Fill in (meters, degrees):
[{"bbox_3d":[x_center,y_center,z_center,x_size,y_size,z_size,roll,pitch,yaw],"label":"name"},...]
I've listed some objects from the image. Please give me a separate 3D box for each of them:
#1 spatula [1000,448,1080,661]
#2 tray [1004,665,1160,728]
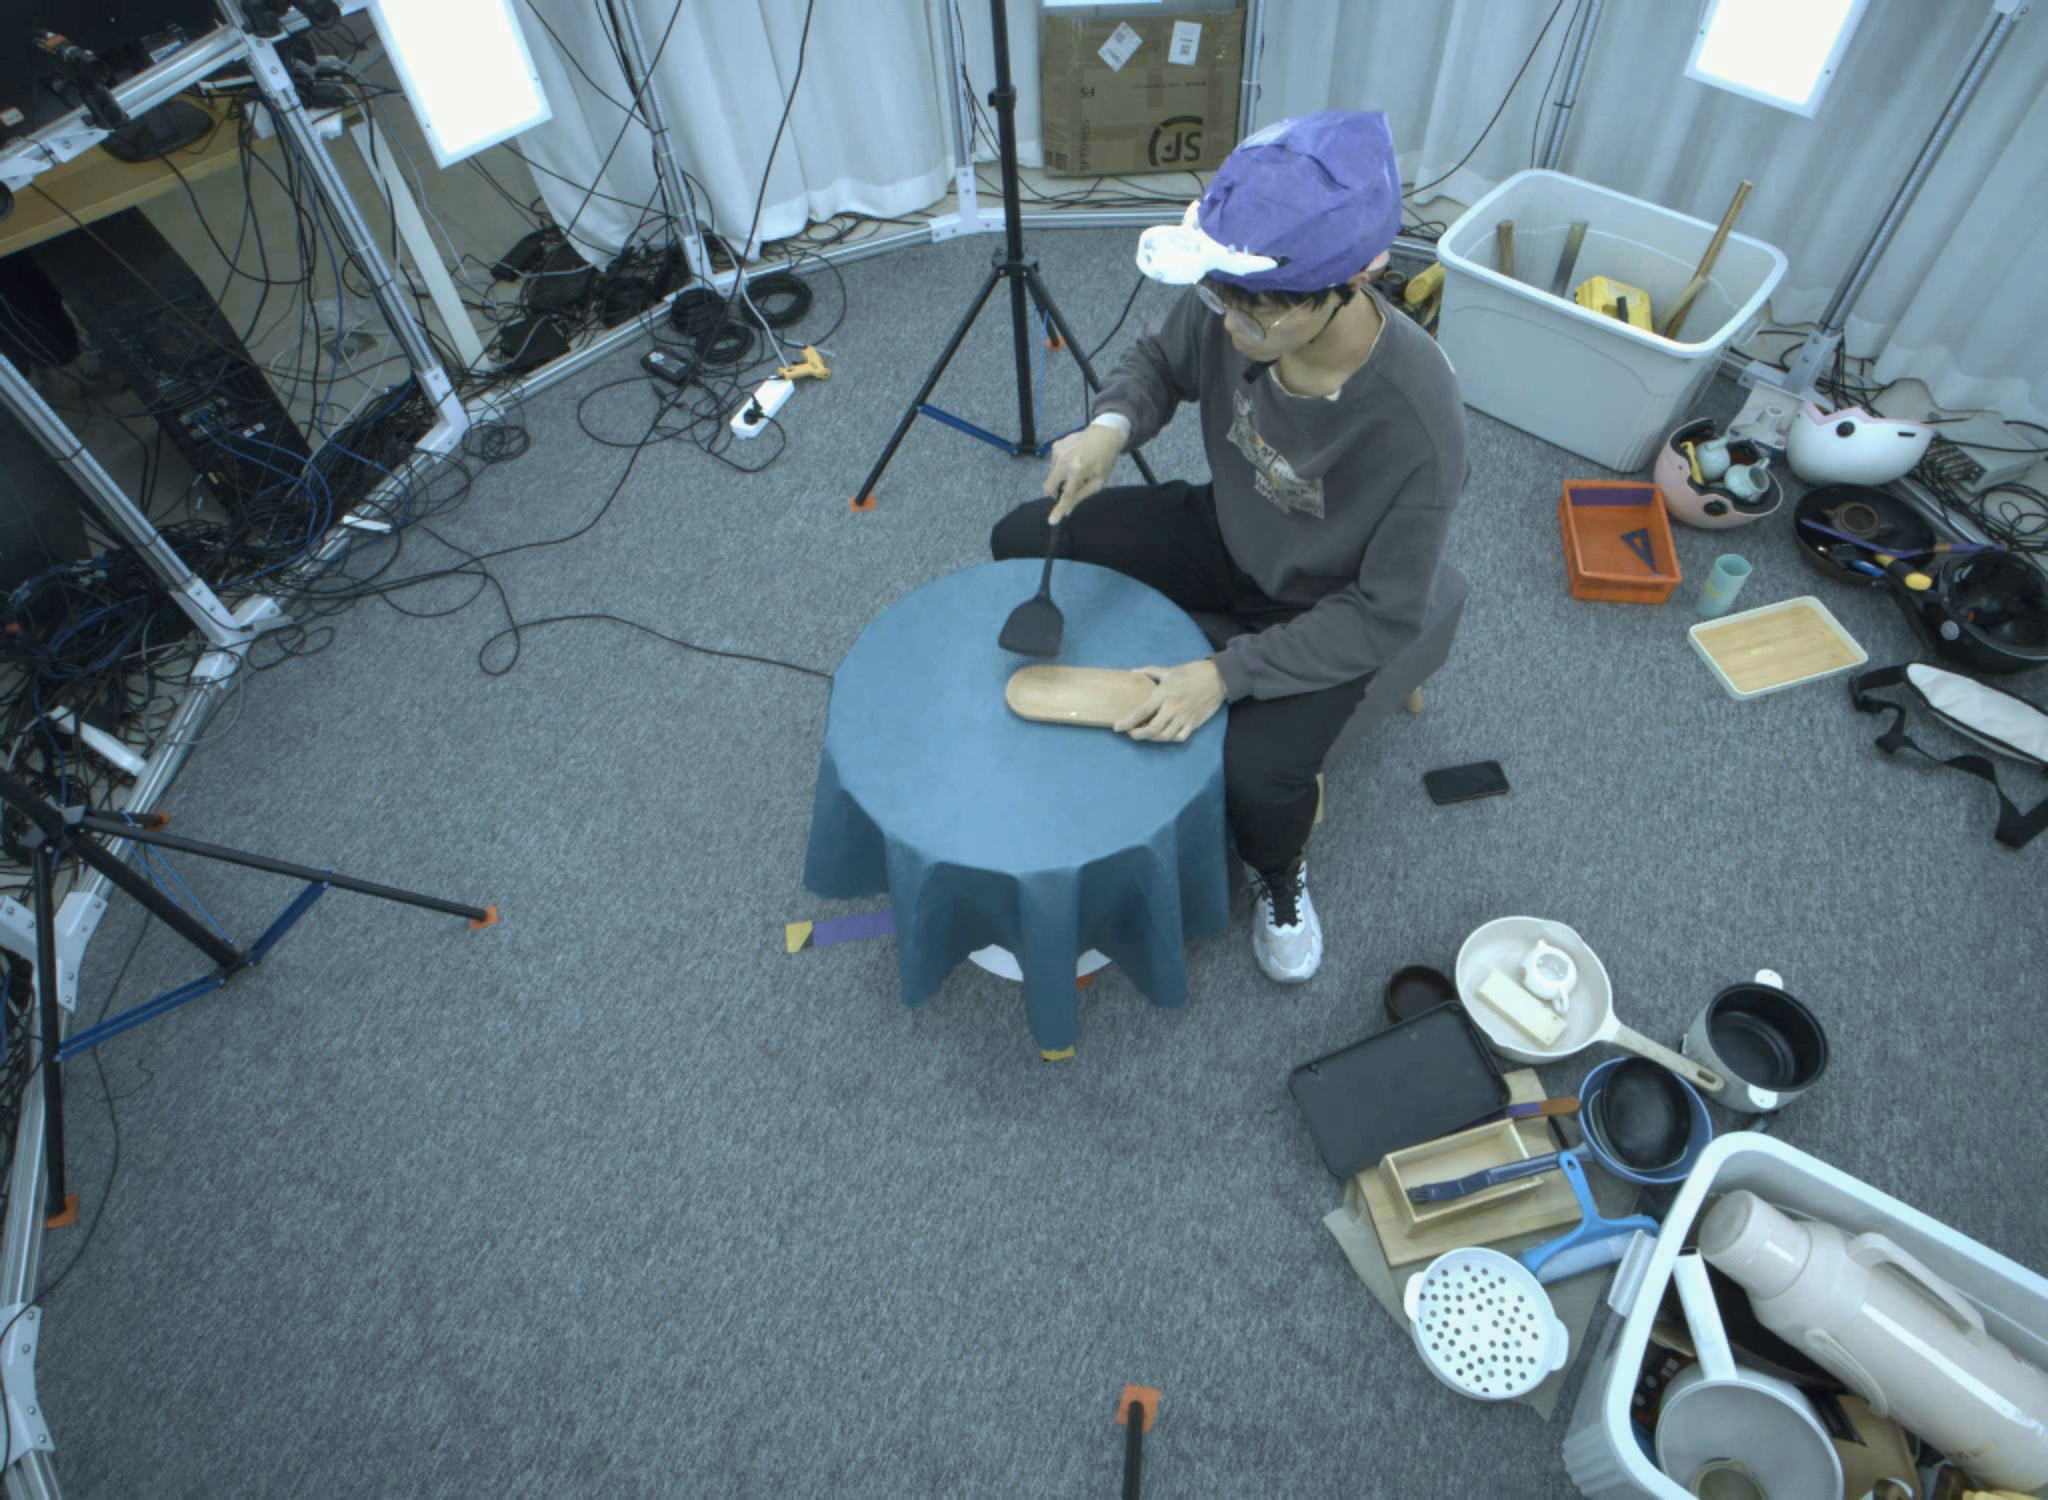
[{"bbox_3d":[0.042,-0.295,1.831,0.098,0.041,0.326,12,94,14],"label":"spatula"},{"bbox_3d":[0.086,-0.079,1.829,0.230,0.020,0.101,4,53,7],"label":"tray"}]
